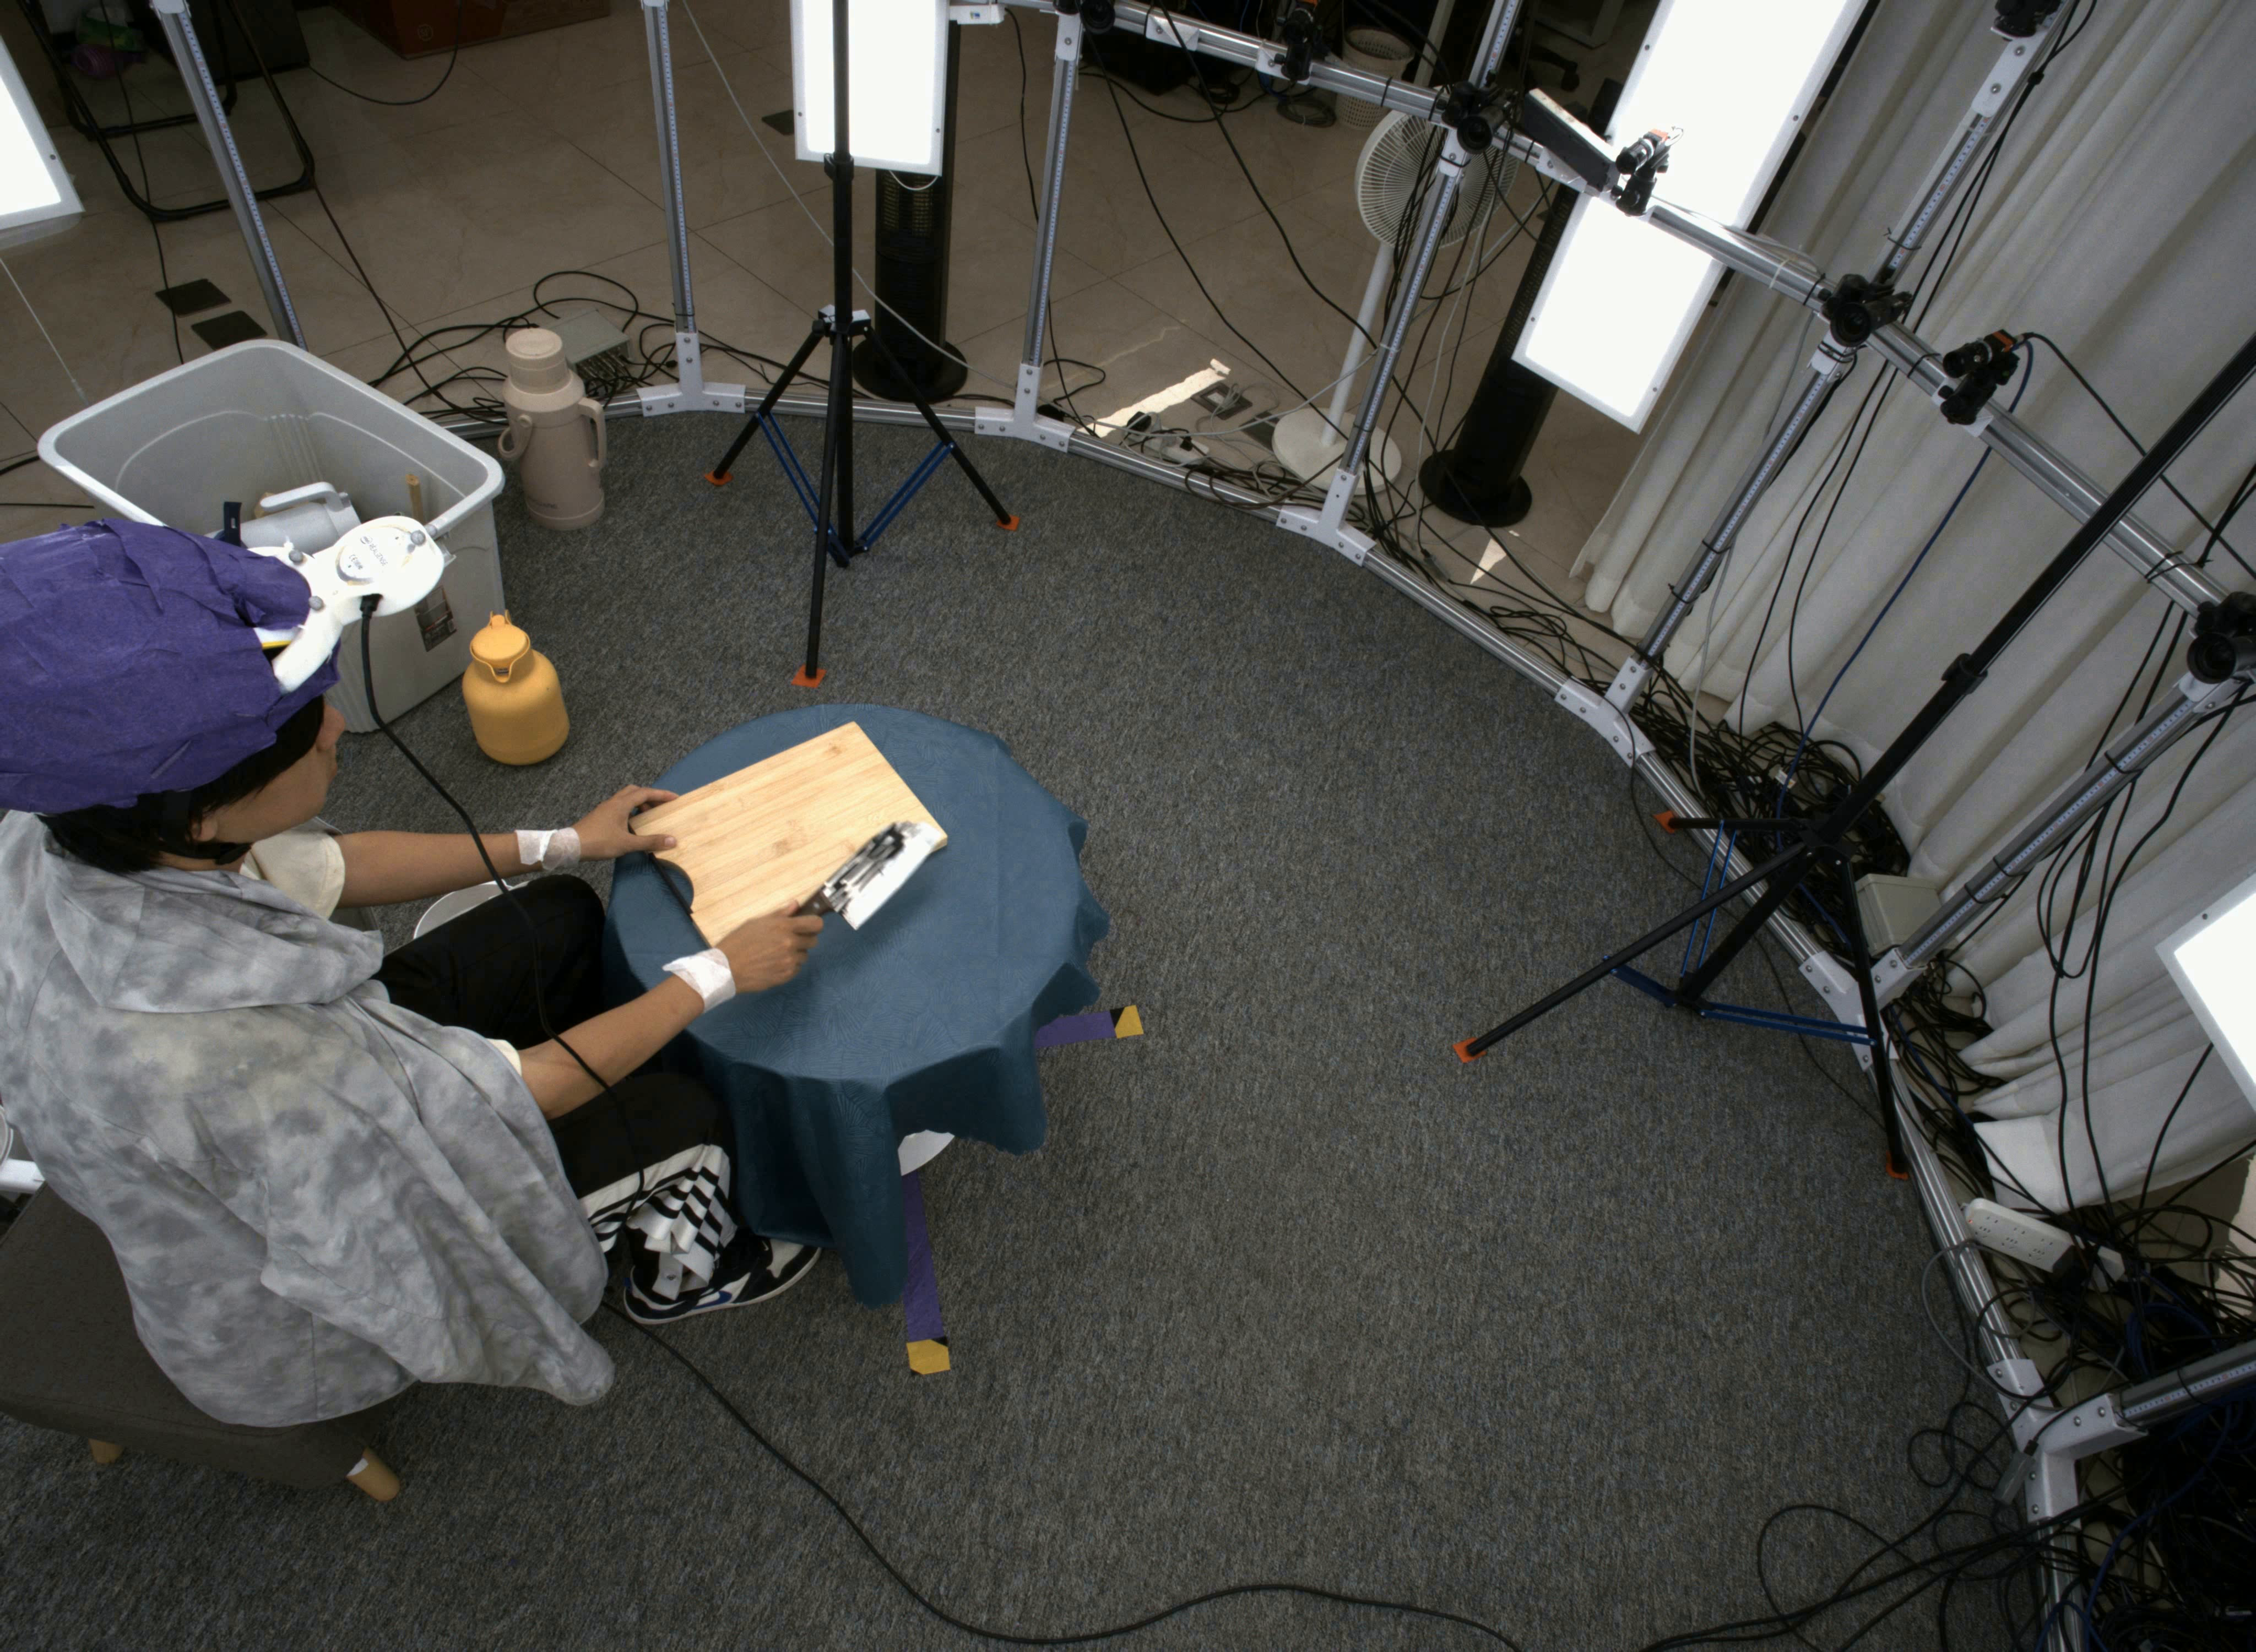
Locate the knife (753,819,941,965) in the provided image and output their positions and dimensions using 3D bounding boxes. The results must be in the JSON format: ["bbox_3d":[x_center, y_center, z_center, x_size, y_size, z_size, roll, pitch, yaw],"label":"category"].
[{"bbox_3d":[-0.337,0.081,1.592,0.069,0.023,0.299,50,54,-12],"label":"knife"}]

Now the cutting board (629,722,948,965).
[{"bbox_3d":[-0.442,0.011,1.703,0.350,0.024,0.244,-29,65,-30],"label":"cutting board"}]
